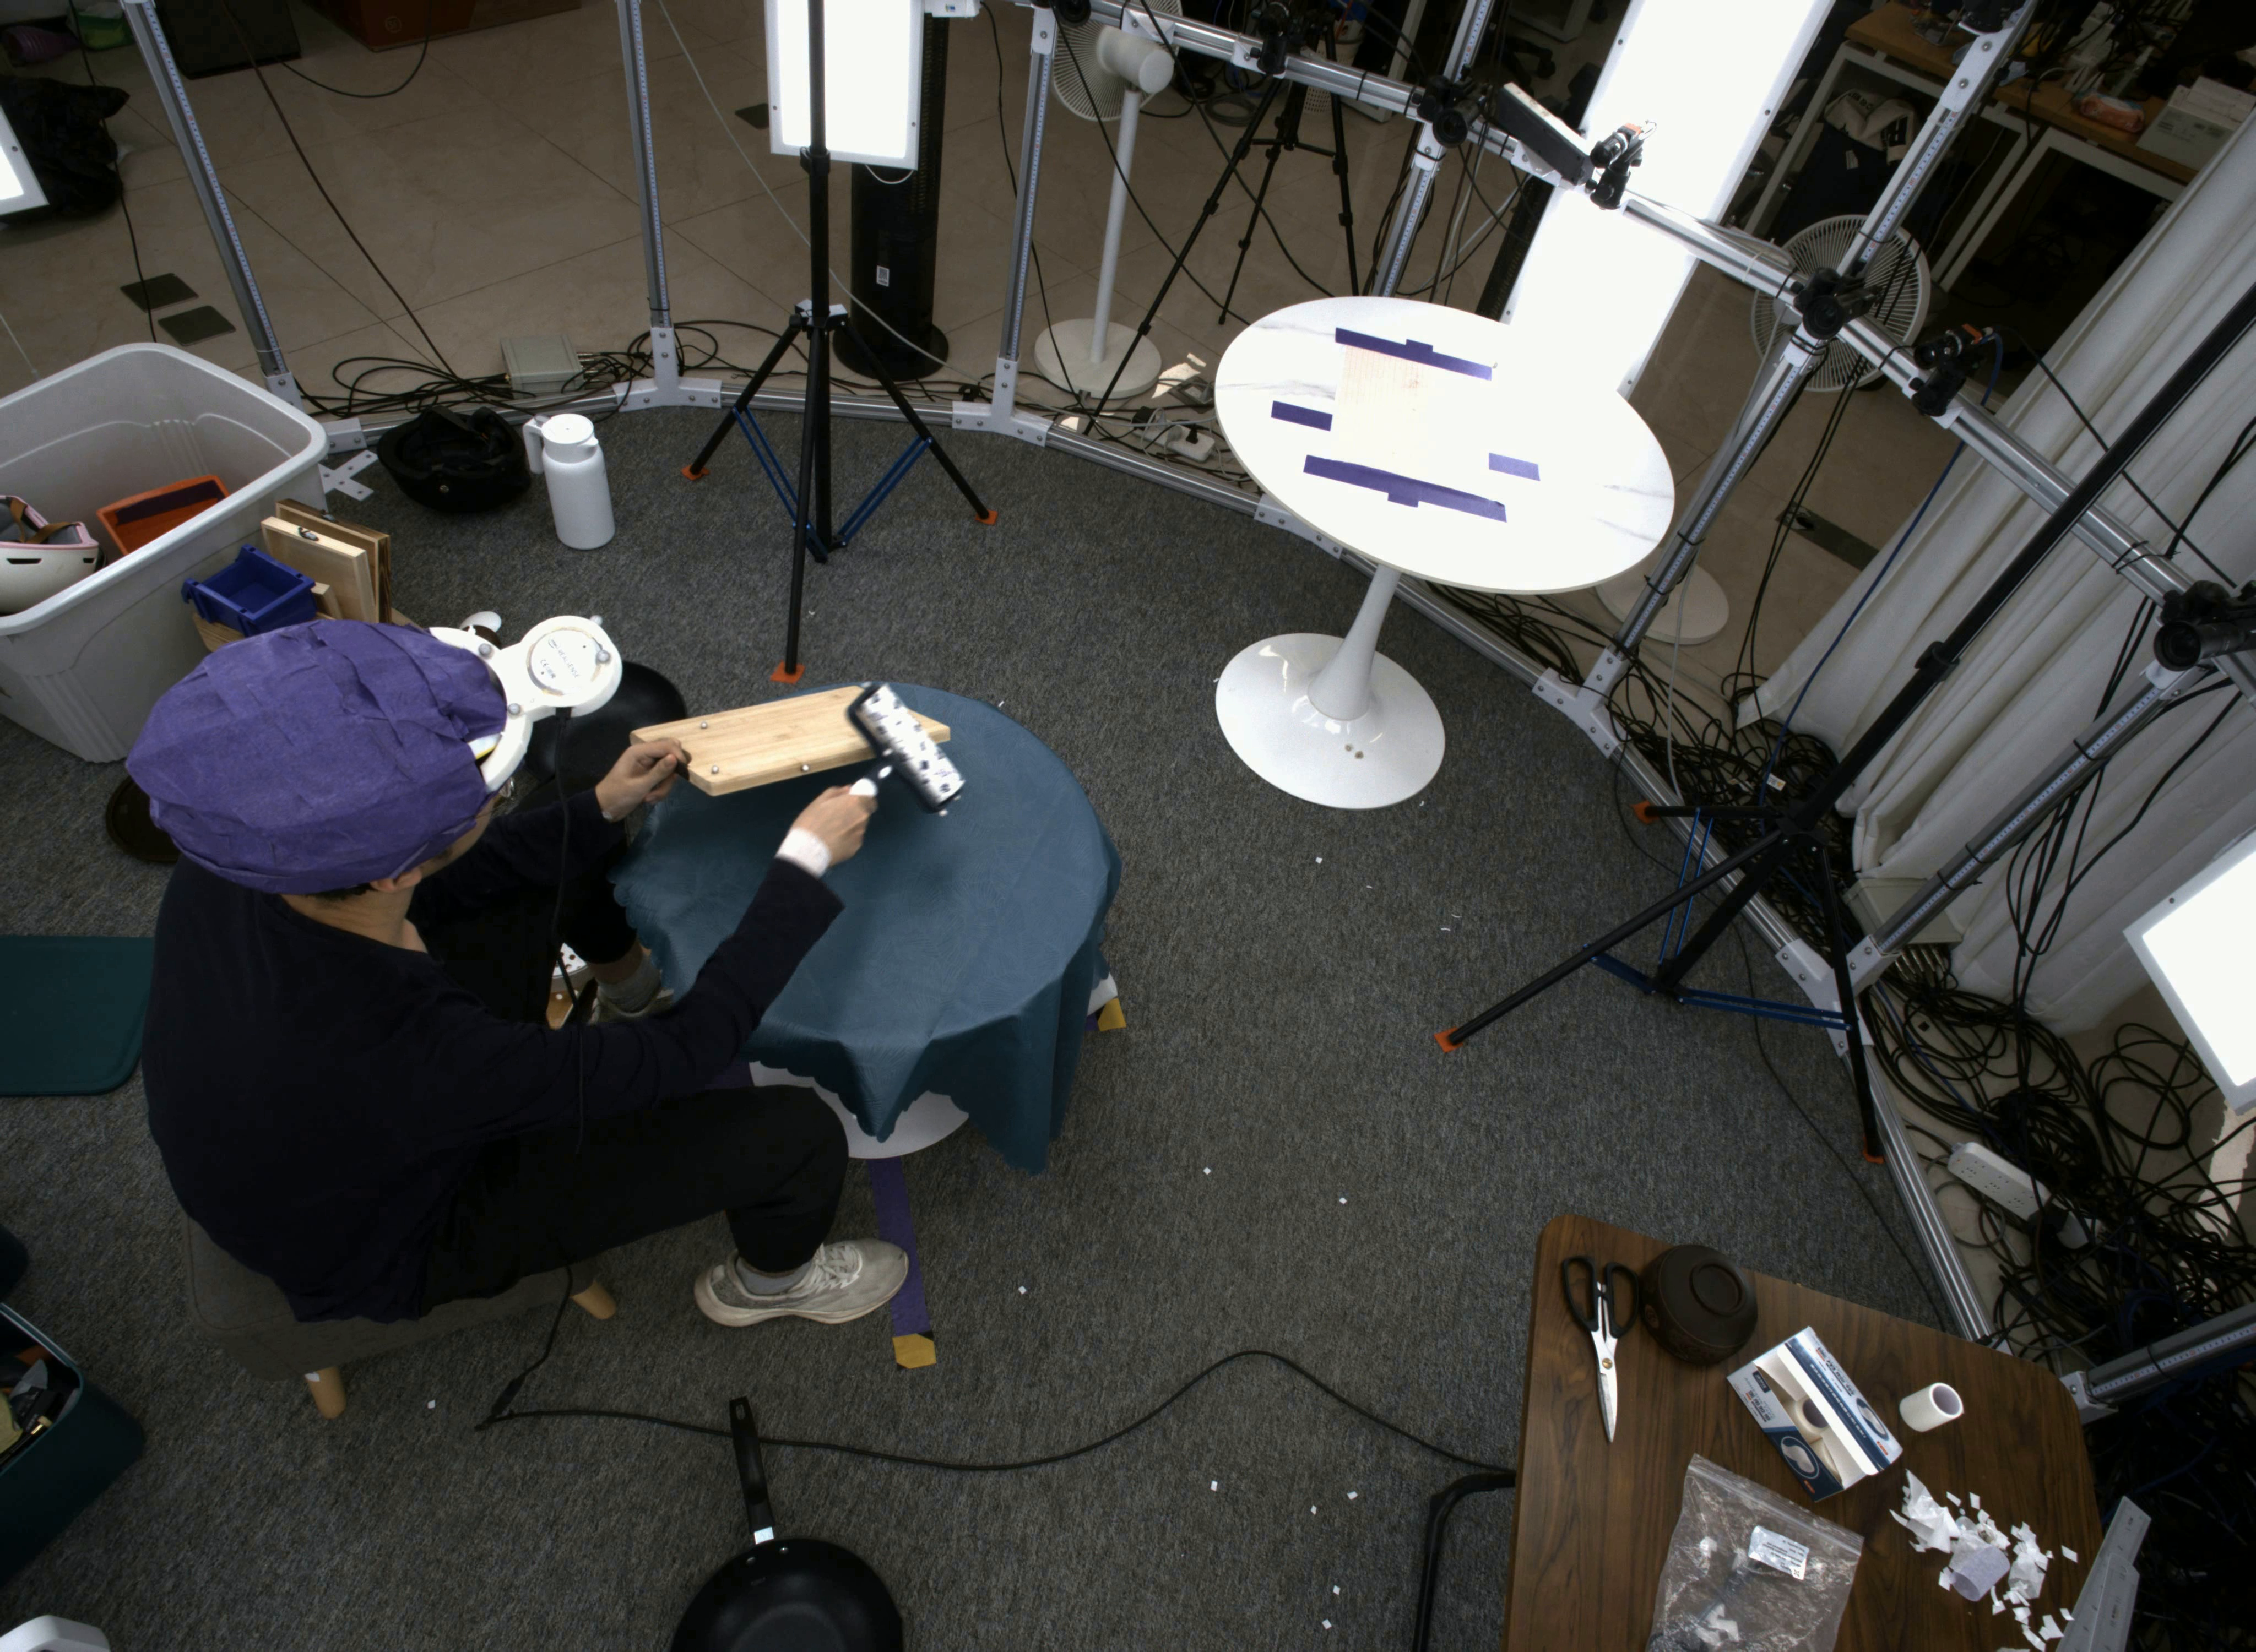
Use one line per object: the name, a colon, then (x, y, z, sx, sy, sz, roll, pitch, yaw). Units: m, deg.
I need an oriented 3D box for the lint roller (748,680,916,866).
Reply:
lint roller: (-0.377, -0.041, 1.576, 0.181, 0.049, 0.245, 52, 46, -22)

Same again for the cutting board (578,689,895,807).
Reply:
cutting board: (-0.507, -0.108, 1.667, 0.241, 0.024, 0.352, 21, 30, 40)
